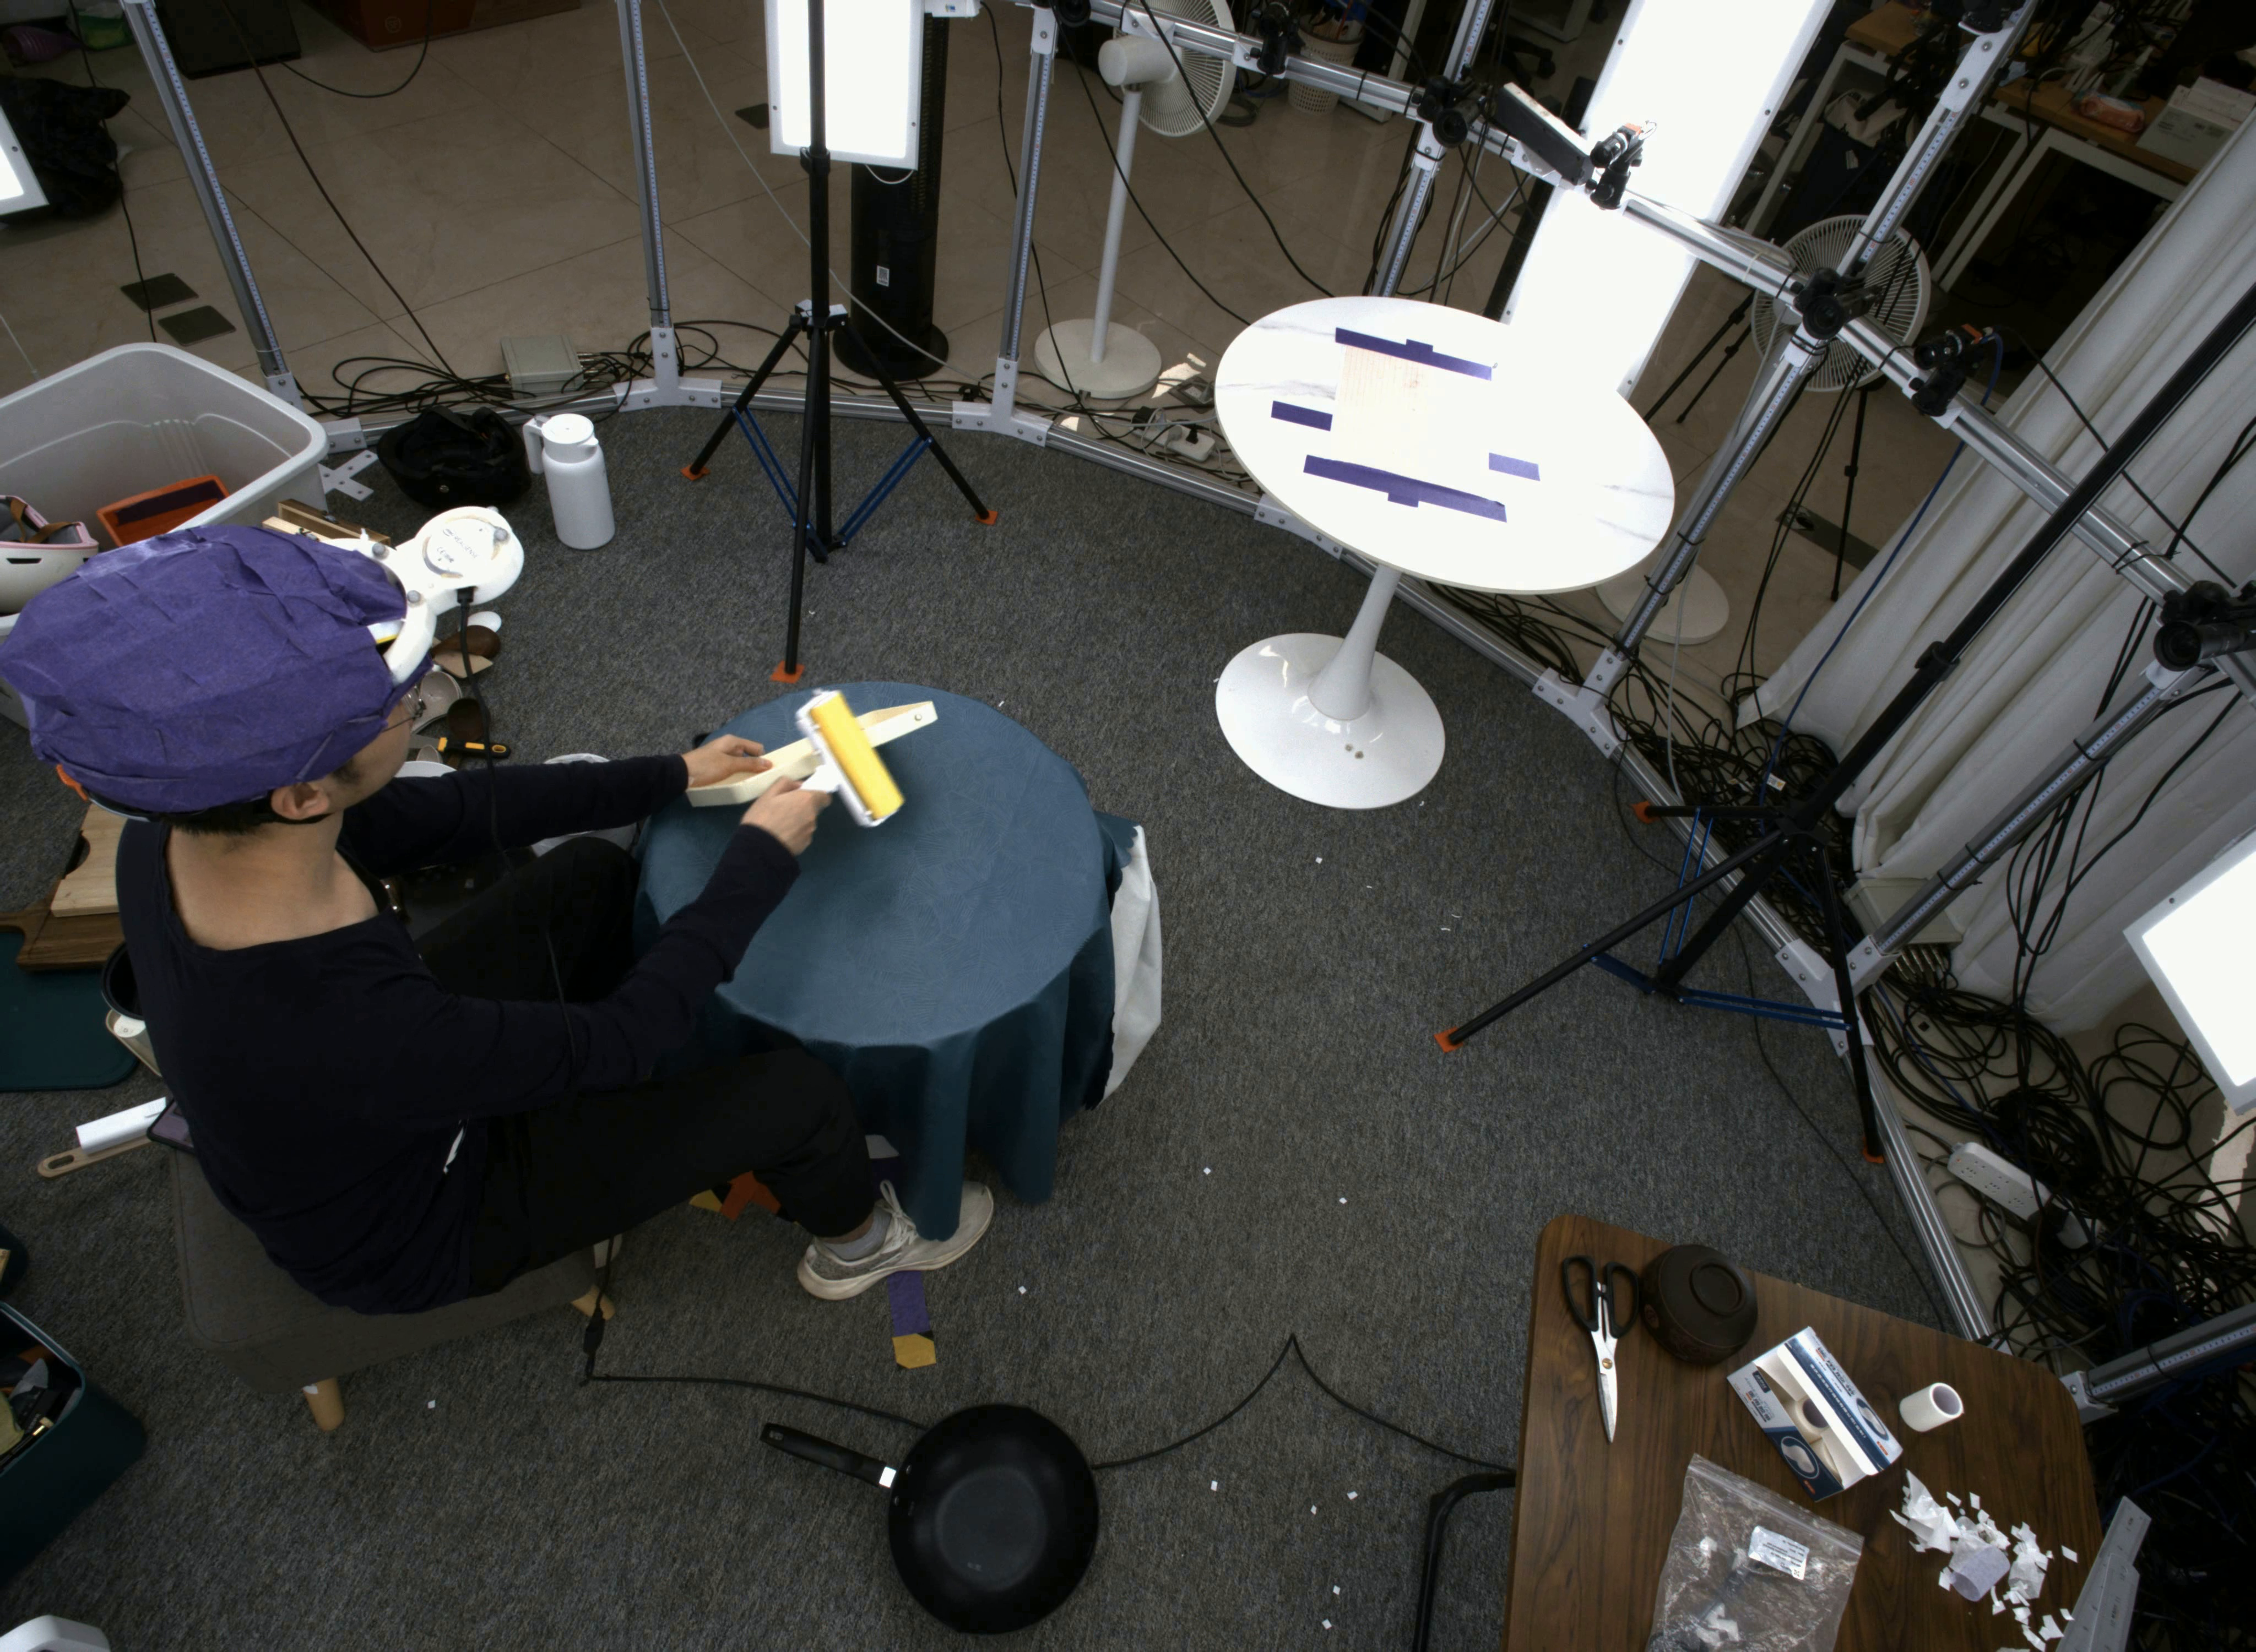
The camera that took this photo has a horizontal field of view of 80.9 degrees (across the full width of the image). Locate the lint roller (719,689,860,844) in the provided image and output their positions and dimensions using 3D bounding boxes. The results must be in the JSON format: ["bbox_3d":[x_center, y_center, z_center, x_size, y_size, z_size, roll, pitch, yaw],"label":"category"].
[{"bbox_3d":[-0.418,-0.046,1.542,0.050,0.180,0.190,-15,29,30],"label":"lint roller"}]

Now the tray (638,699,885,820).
[{"bbox_3d":[-0.475,-0.087,1.676,0.301,0.186,0.028,-32,107,-36],"label":"tray"}]
